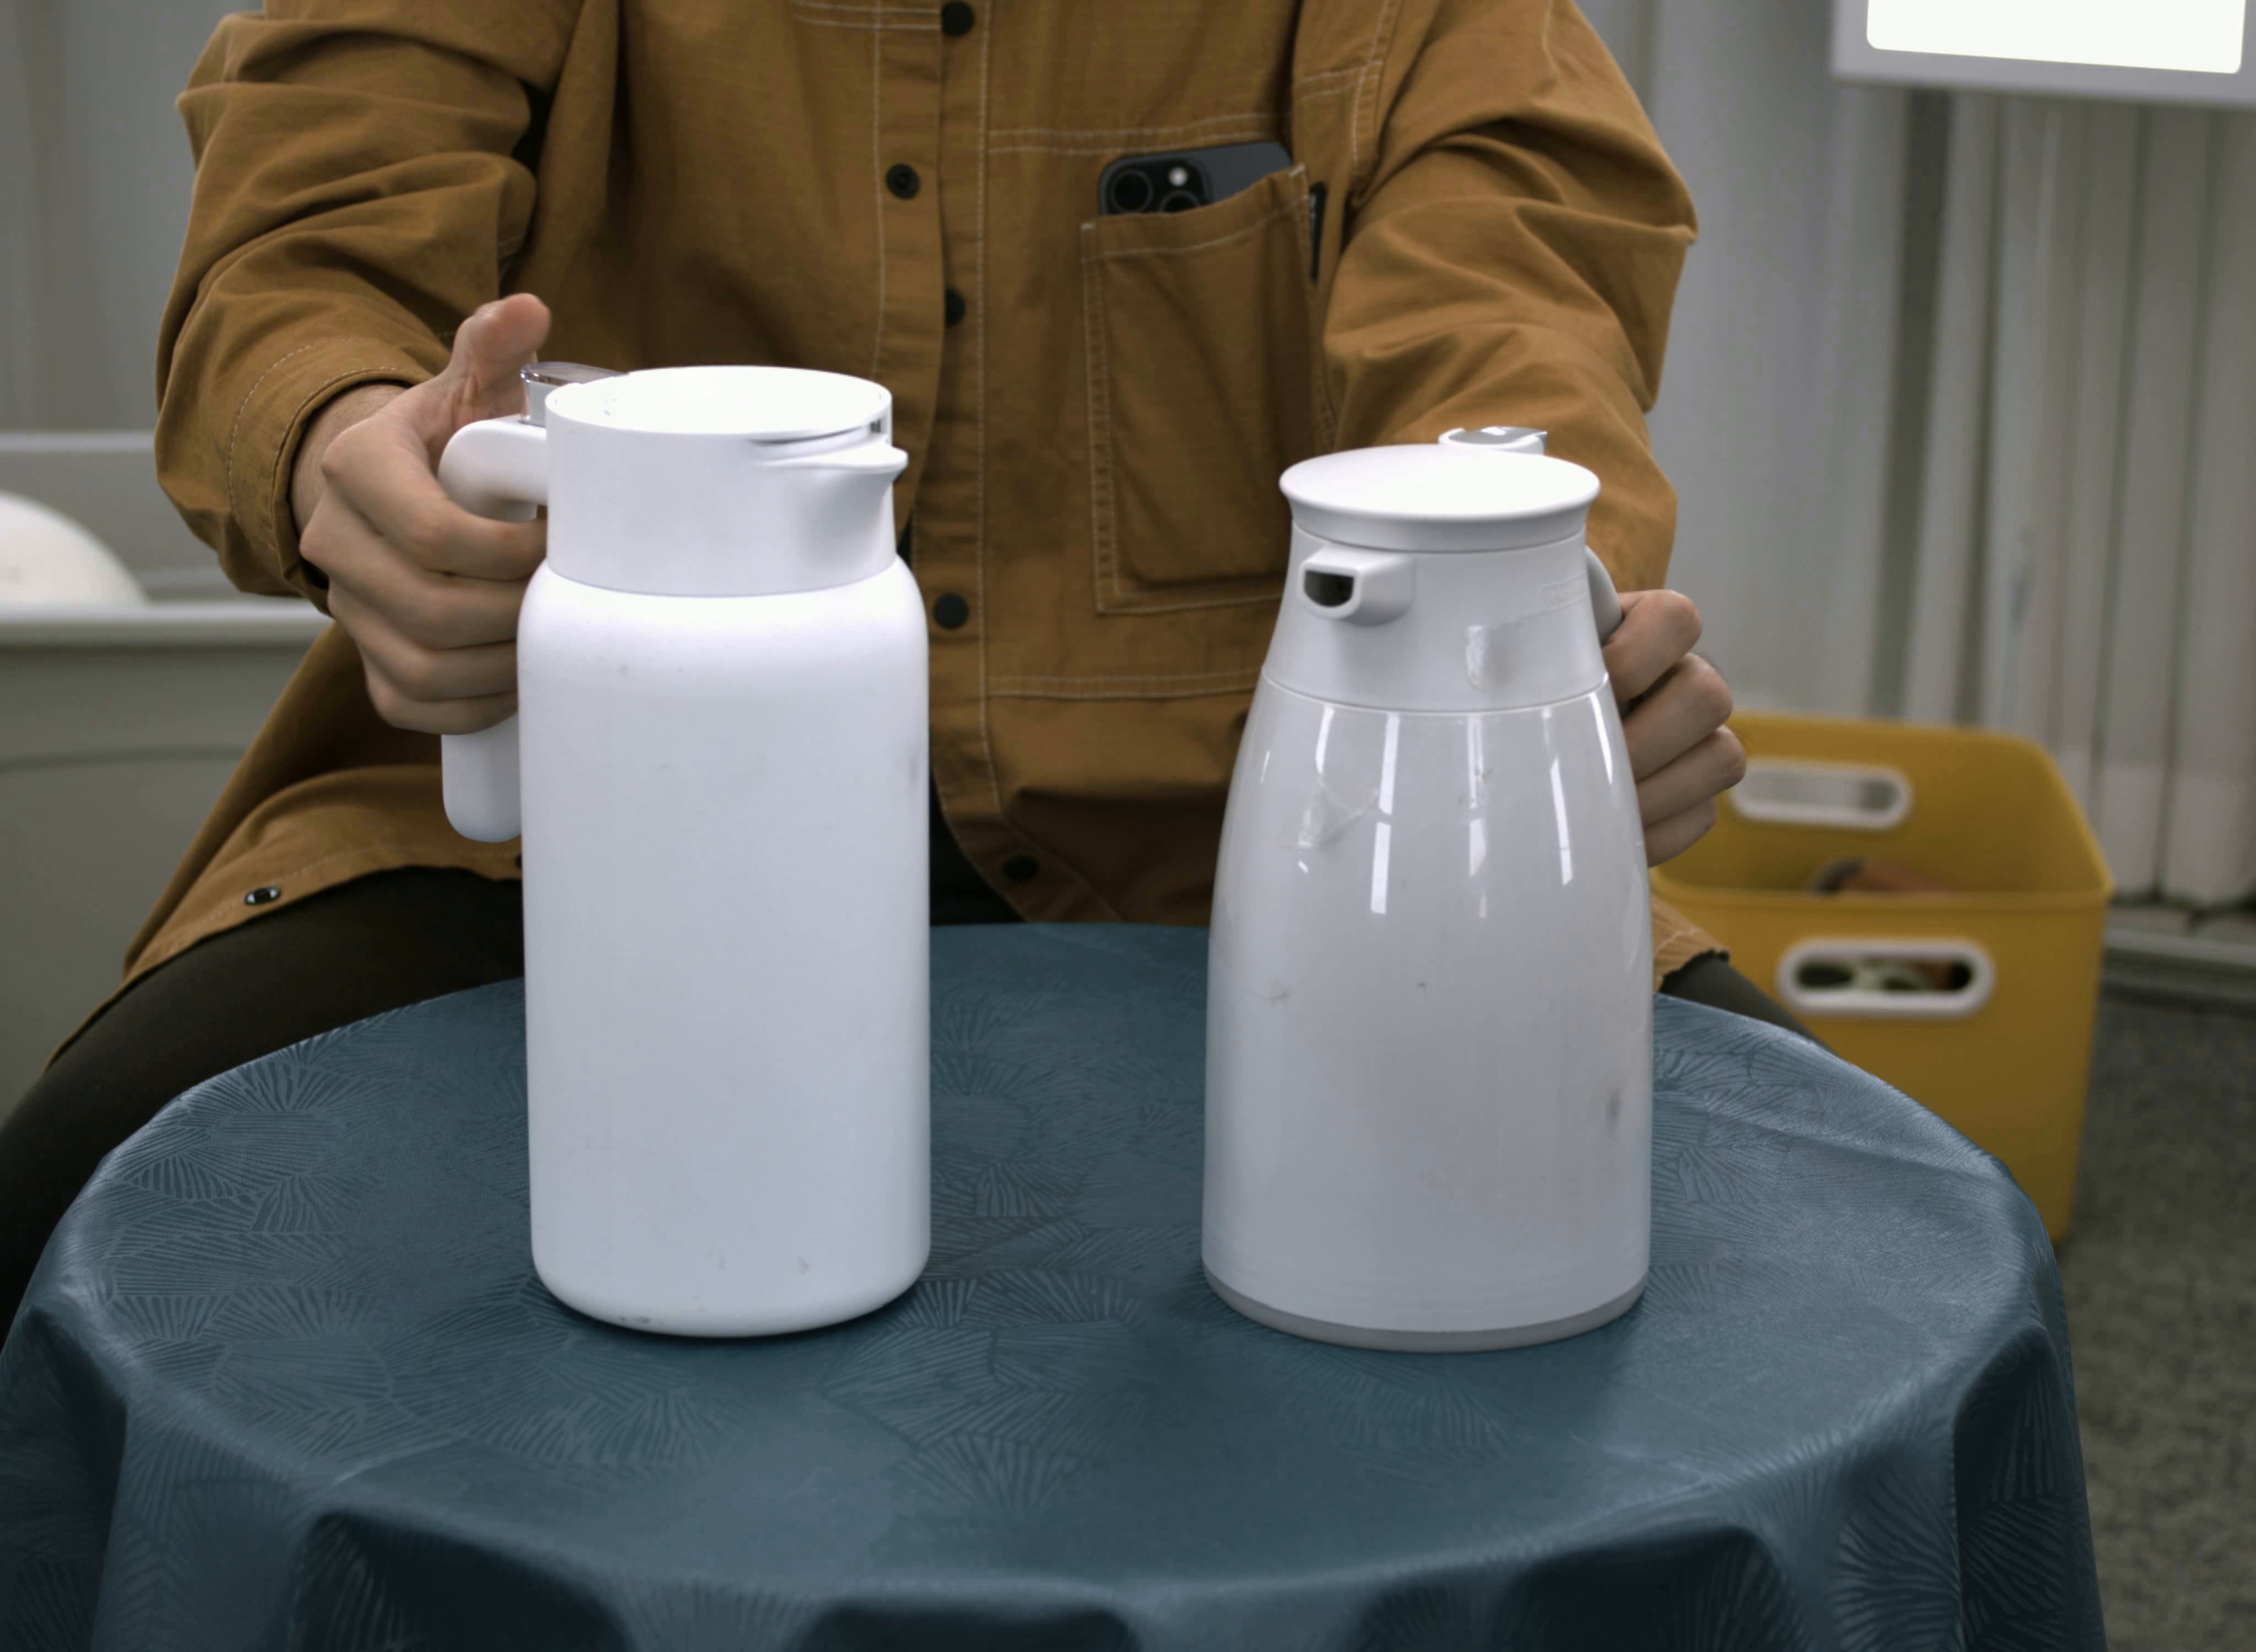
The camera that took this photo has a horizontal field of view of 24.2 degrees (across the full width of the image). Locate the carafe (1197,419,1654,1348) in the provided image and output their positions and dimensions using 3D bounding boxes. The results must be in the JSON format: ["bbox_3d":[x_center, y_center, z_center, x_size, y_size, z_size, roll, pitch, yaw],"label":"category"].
[{"bbox_3d":[0.097,0.008,1.536,0.131,0.250,0.168,10,18,29],"label":"carafe"}]

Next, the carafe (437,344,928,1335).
[{"bbox_3d":[-0.130,0.001,1.516,0.170,0.271,0.124,13,23,37],"label":"carafe"}]
